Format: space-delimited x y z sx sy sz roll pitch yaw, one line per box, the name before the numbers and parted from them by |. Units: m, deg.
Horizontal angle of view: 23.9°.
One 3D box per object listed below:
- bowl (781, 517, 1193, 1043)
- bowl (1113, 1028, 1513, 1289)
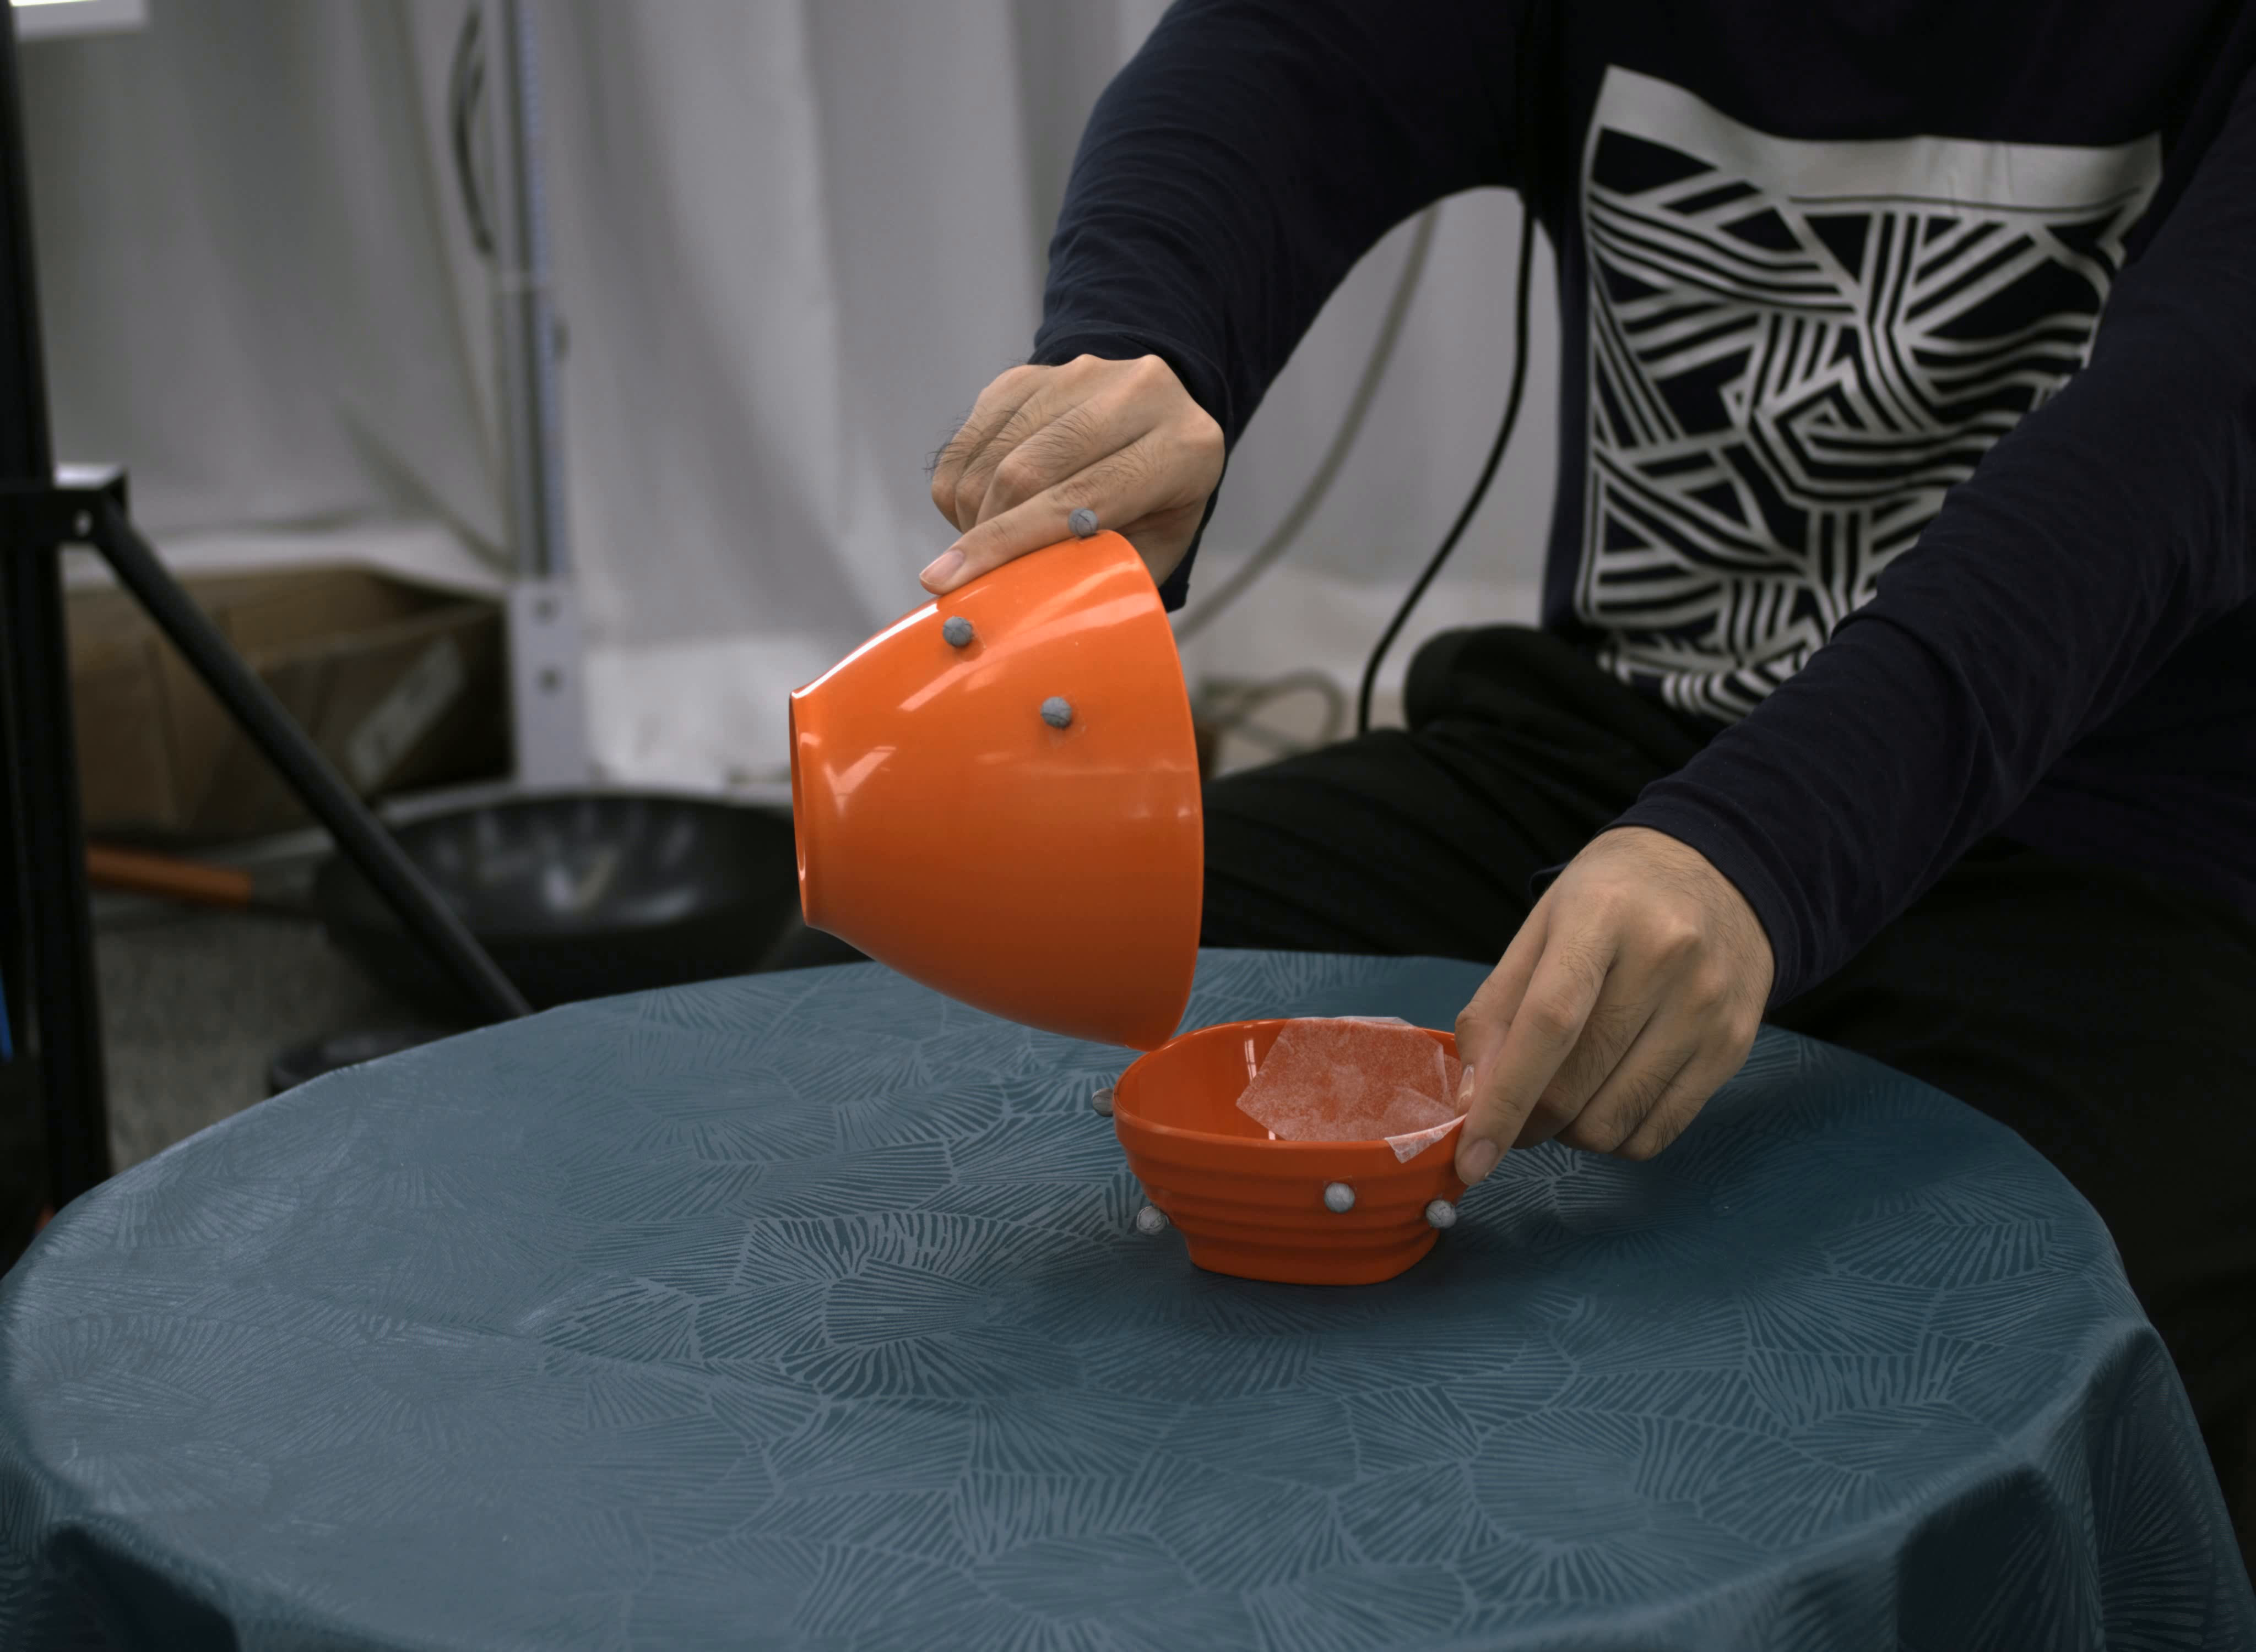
bowl | -0.043 -0.009 1.491 0.104 0.148 0.149 -5 16 -5
bowl | 0.054 0.097 1.507 0.118 0.051 0.119 -3 13 -1
